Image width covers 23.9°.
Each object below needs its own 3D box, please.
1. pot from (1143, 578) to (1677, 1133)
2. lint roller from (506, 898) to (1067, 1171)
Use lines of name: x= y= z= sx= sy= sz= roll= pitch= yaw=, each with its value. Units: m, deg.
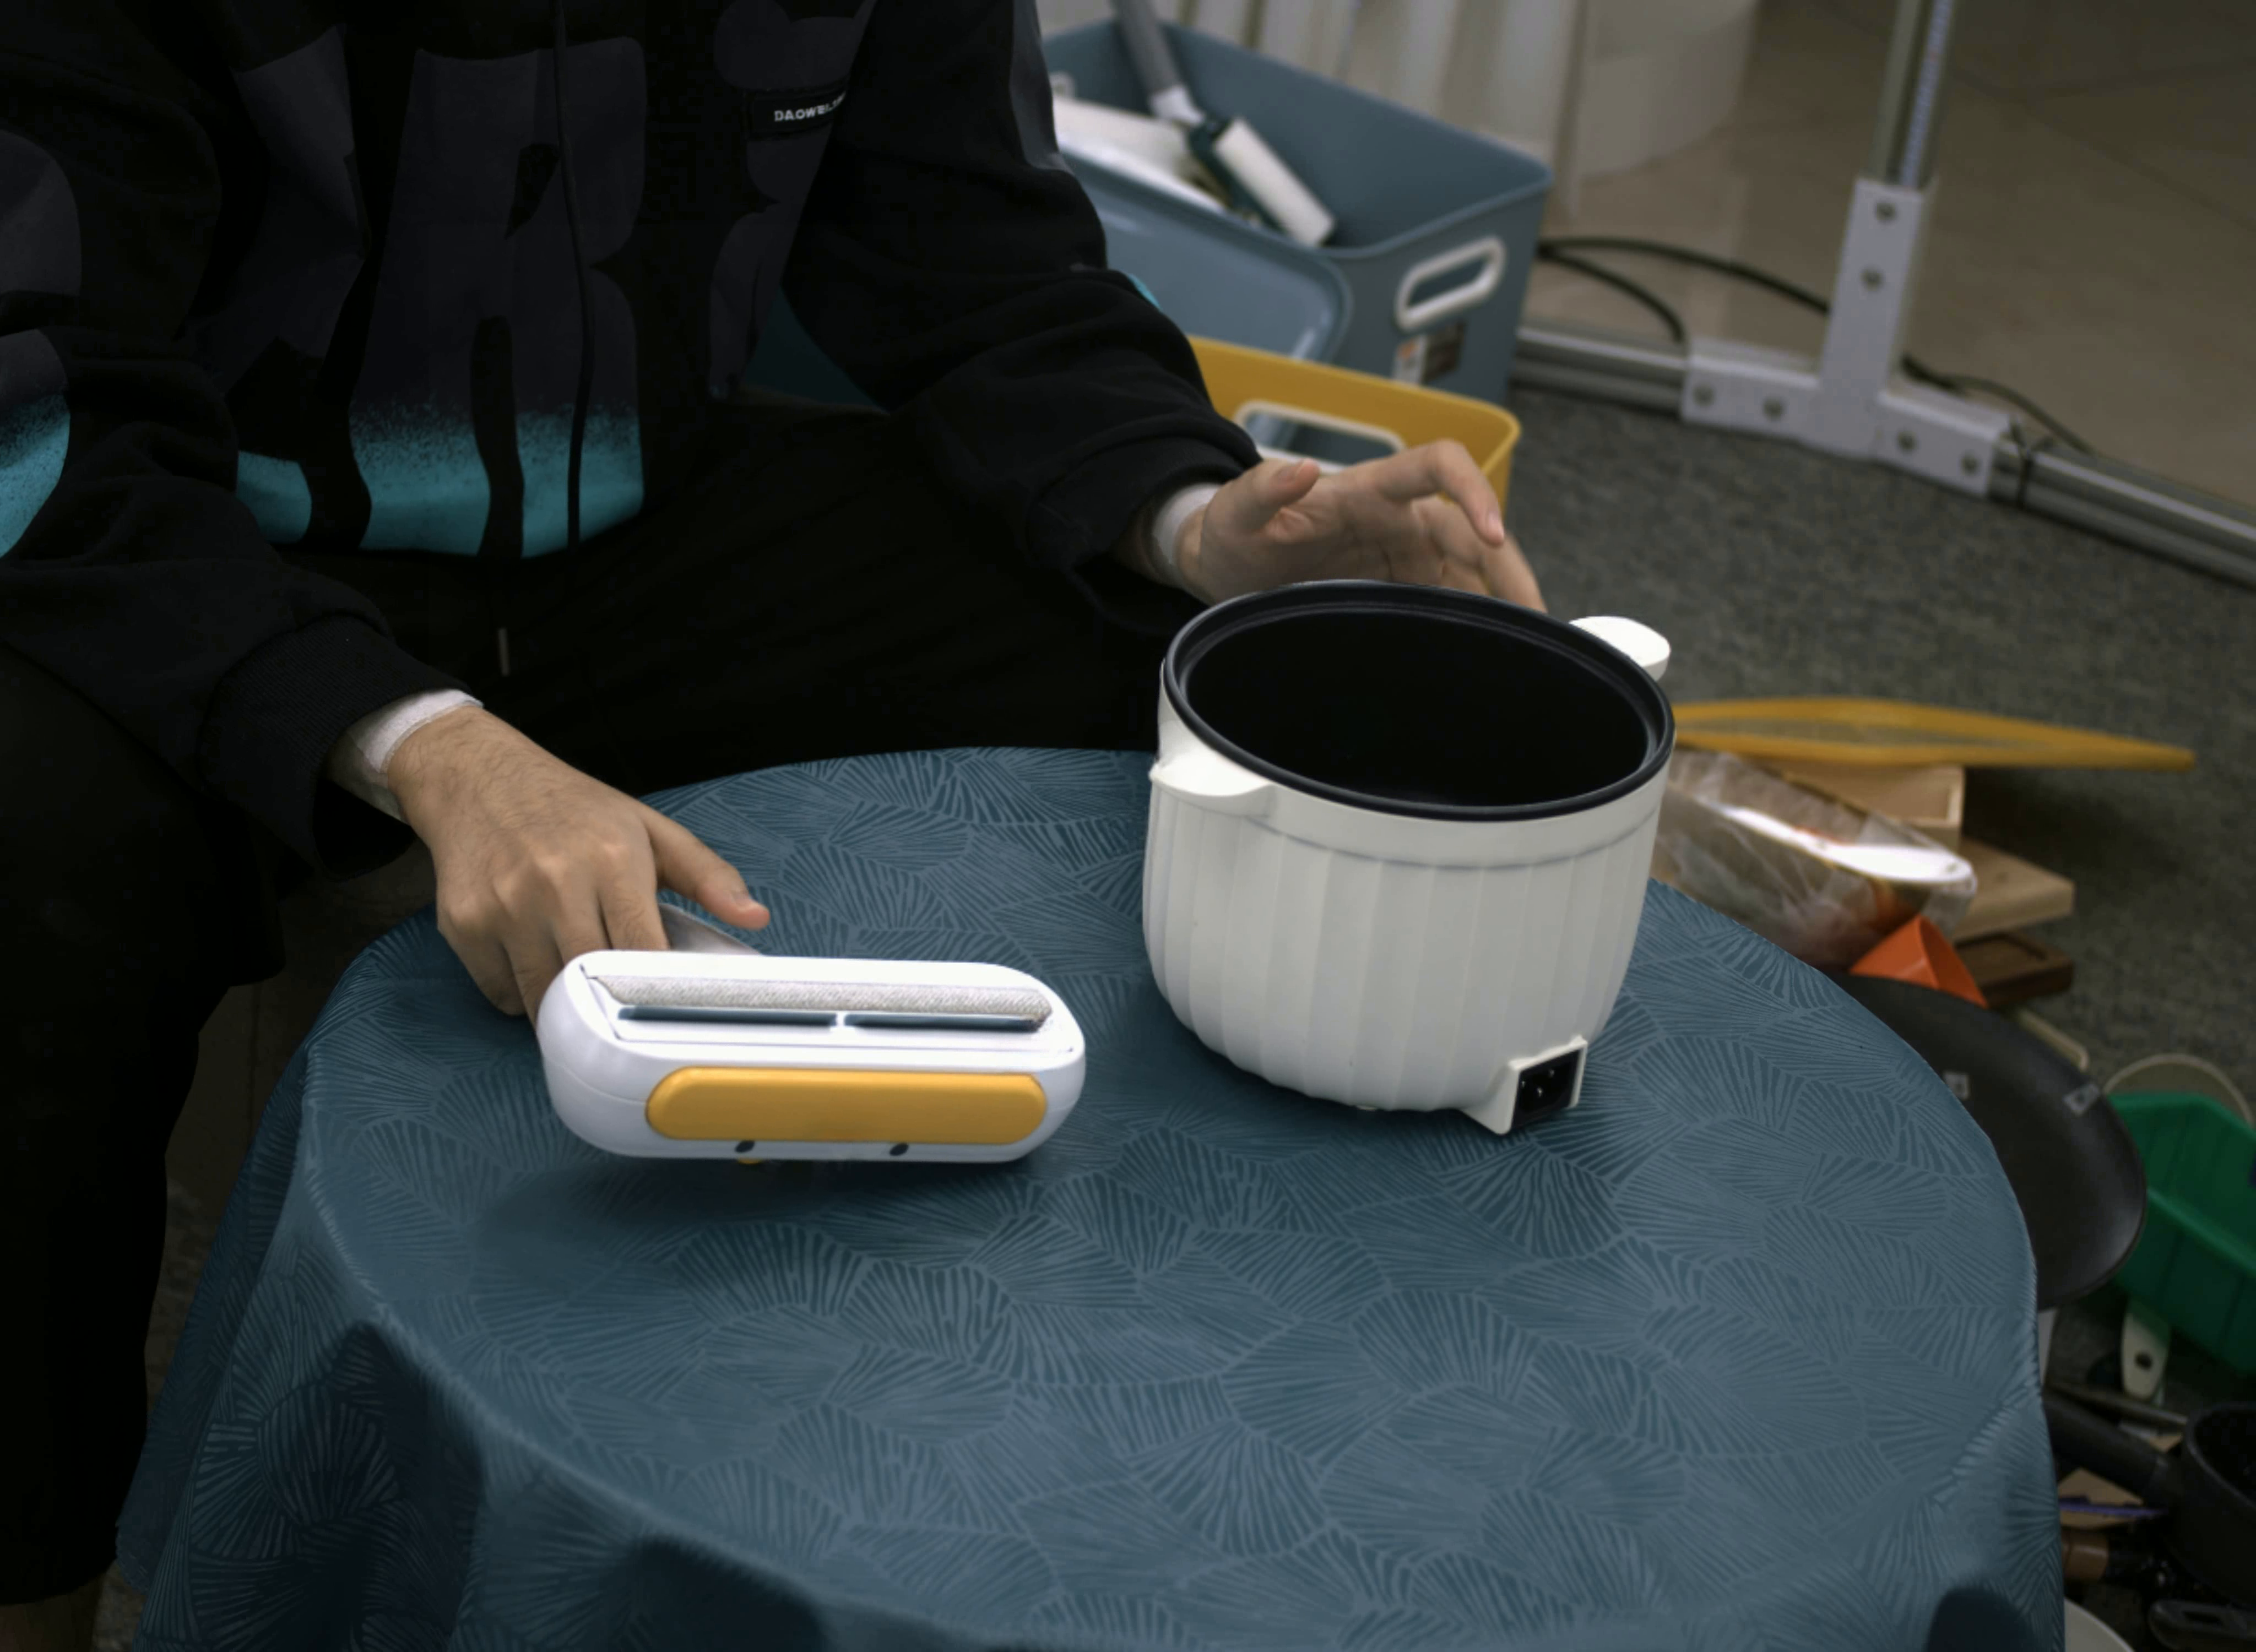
pot: x=0.090 y=0.009 z=1.890 sx=0.239 sy=0.142 sz=0.192 roll=-16 pitch=37 yaw=-40
lint roller: x=-0.135 y=0.058 z=1.822 sx=0.191 sy=0.074 sz=0.194 roll=0 pitch=25 yaw=-23
